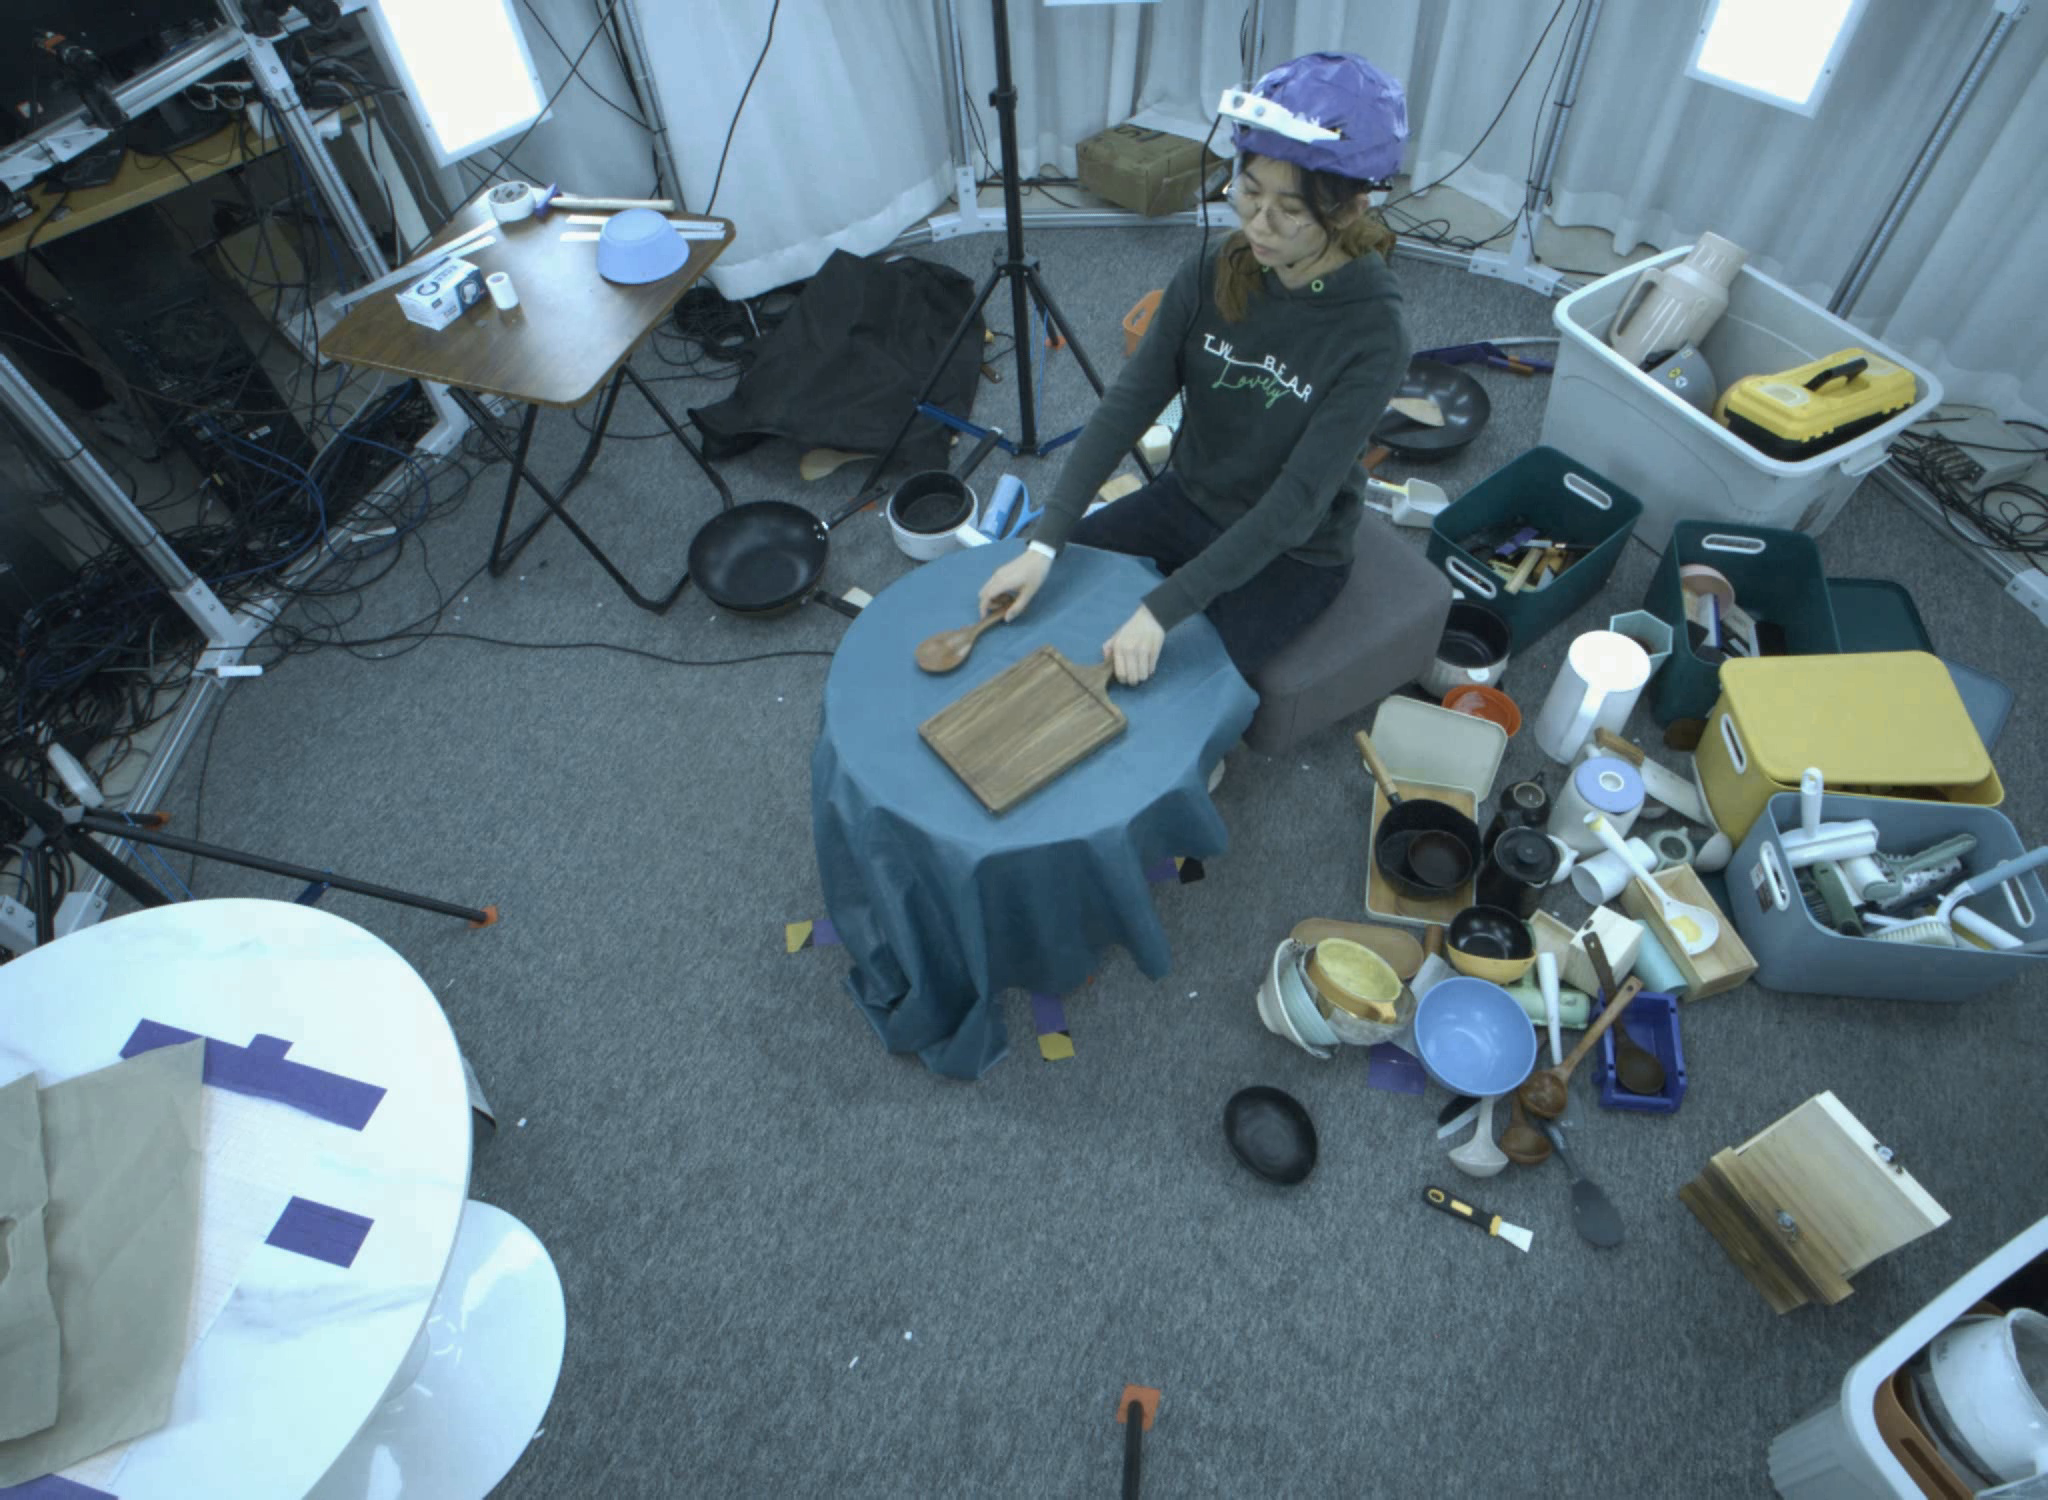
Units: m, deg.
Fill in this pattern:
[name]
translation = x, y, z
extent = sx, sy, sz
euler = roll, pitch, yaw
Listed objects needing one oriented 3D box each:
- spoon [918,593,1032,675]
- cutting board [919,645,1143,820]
[spoon]
translation = -0.073, -0.182, 1.914
extent = 0.217, 0.017, 0.074
euler = -37, 59, -19
[cutting board]
translation = 0.040, -0.055, 1.820
extent = 0.355, 0.023, 0.197
euler = -34, 60, -19
